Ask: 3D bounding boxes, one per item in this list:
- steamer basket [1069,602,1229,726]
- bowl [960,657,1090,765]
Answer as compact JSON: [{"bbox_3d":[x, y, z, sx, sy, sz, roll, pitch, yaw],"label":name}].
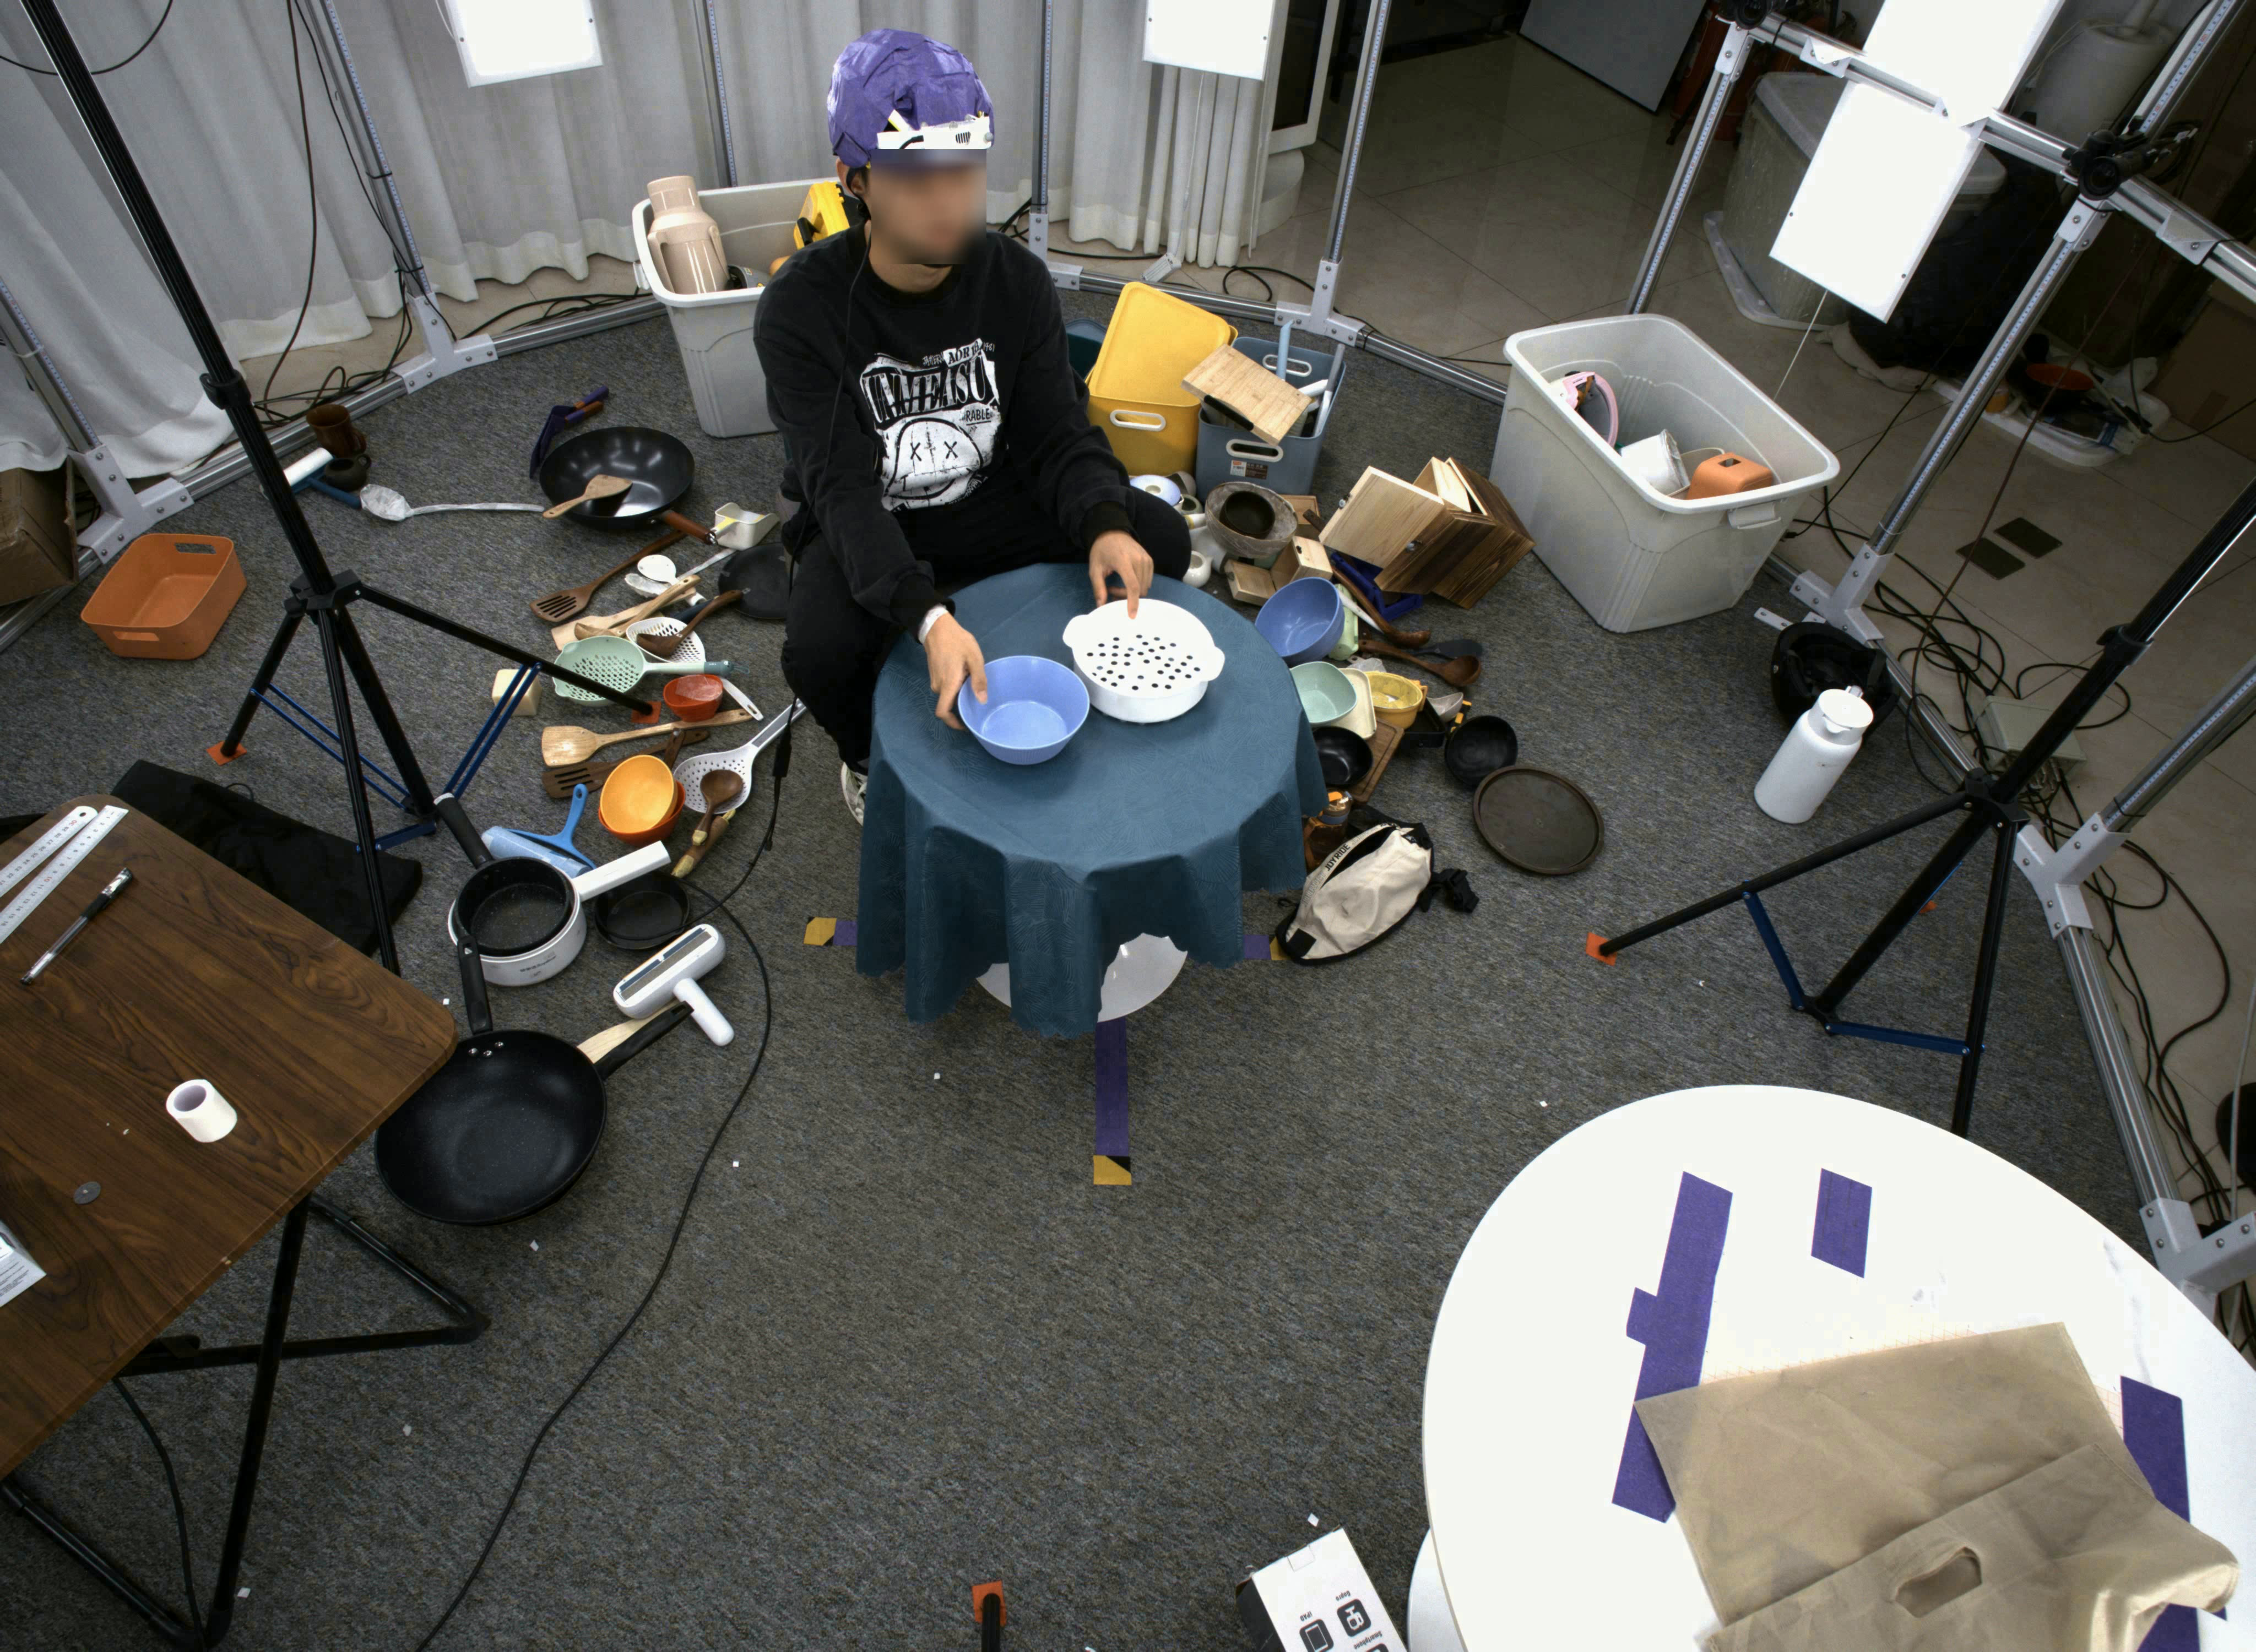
[{"bbox_3d":[0.027,-0.233,1.845,0.231,0.067,0.206,16,50,7],"label":"steamer basket"},{"bbox_3d":[-0.141,-0.148,1.757,0.176,0.068,0.180,2,50,-3],"label":"bowl"}]
